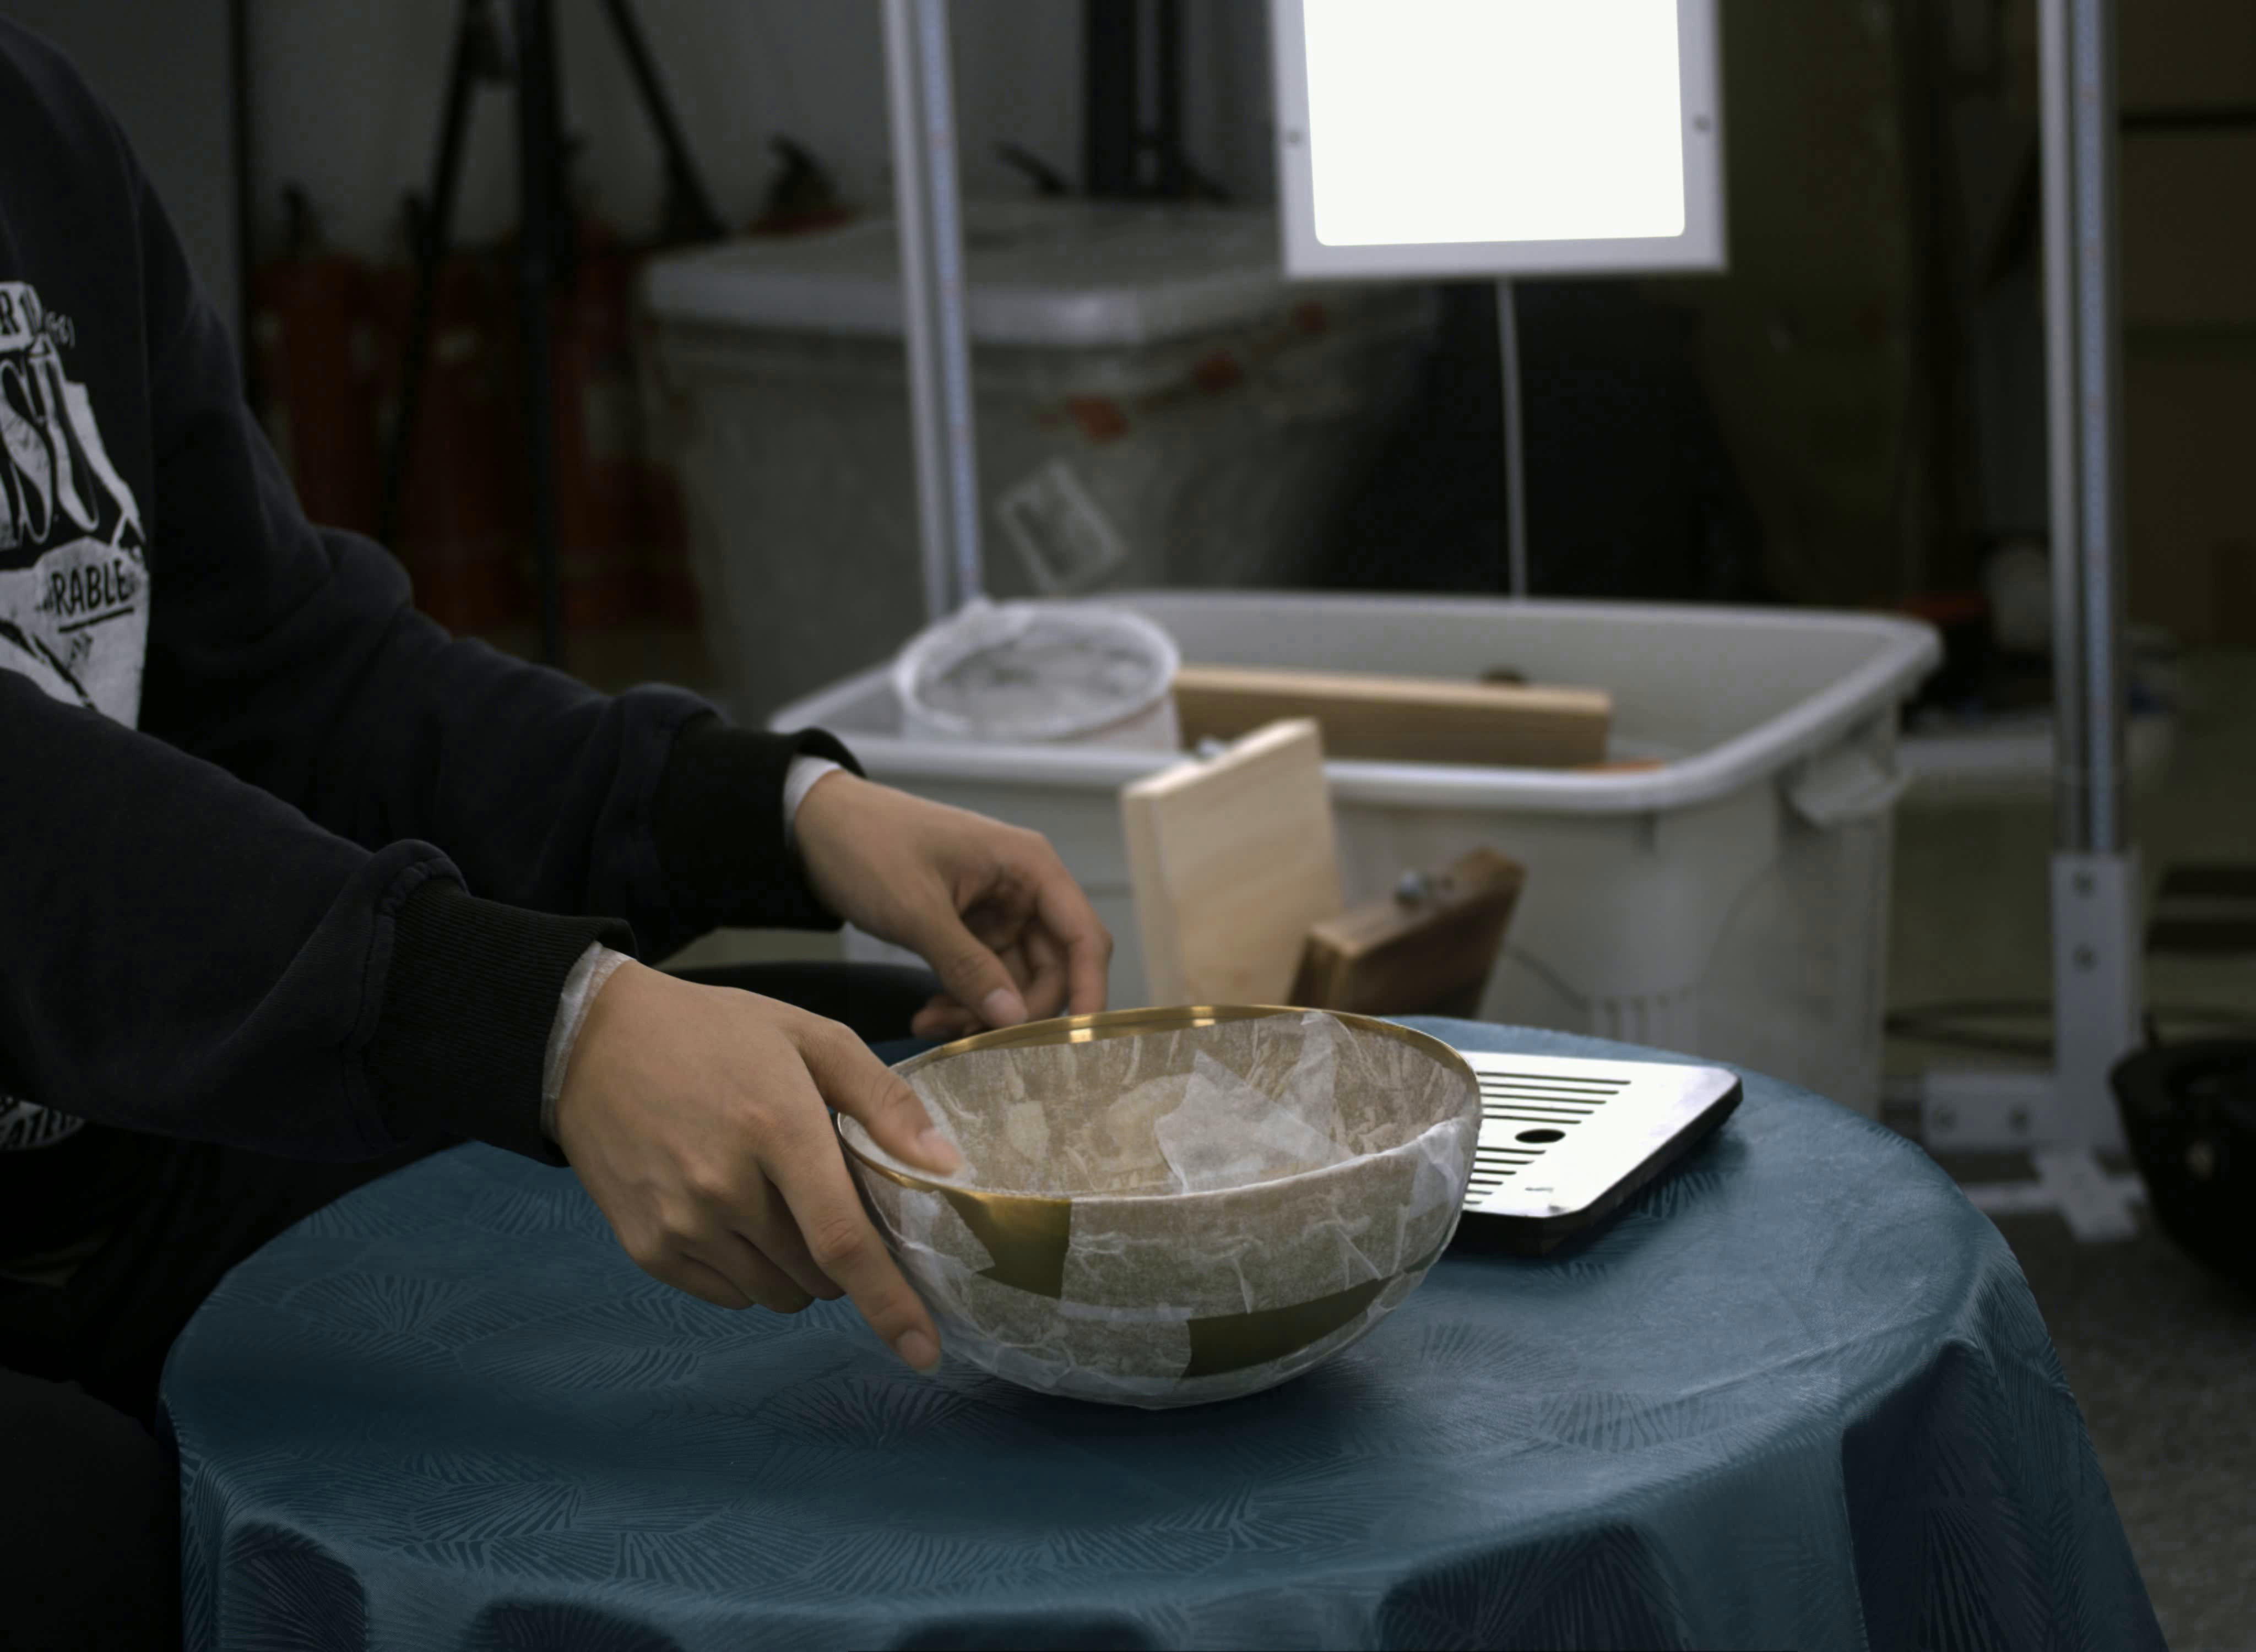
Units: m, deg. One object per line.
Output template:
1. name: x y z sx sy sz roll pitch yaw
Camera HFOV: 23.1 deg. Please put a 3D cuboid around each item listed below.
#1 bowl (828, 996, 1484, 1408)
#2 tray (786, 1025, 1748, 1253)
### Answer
1. bowl: 0.011 0.124 1.709 0.214 0.095 0.214 -5 15 0
2. tray: 0.049 0.107 1.922 0.311 0.019 0.166 2 15 29
